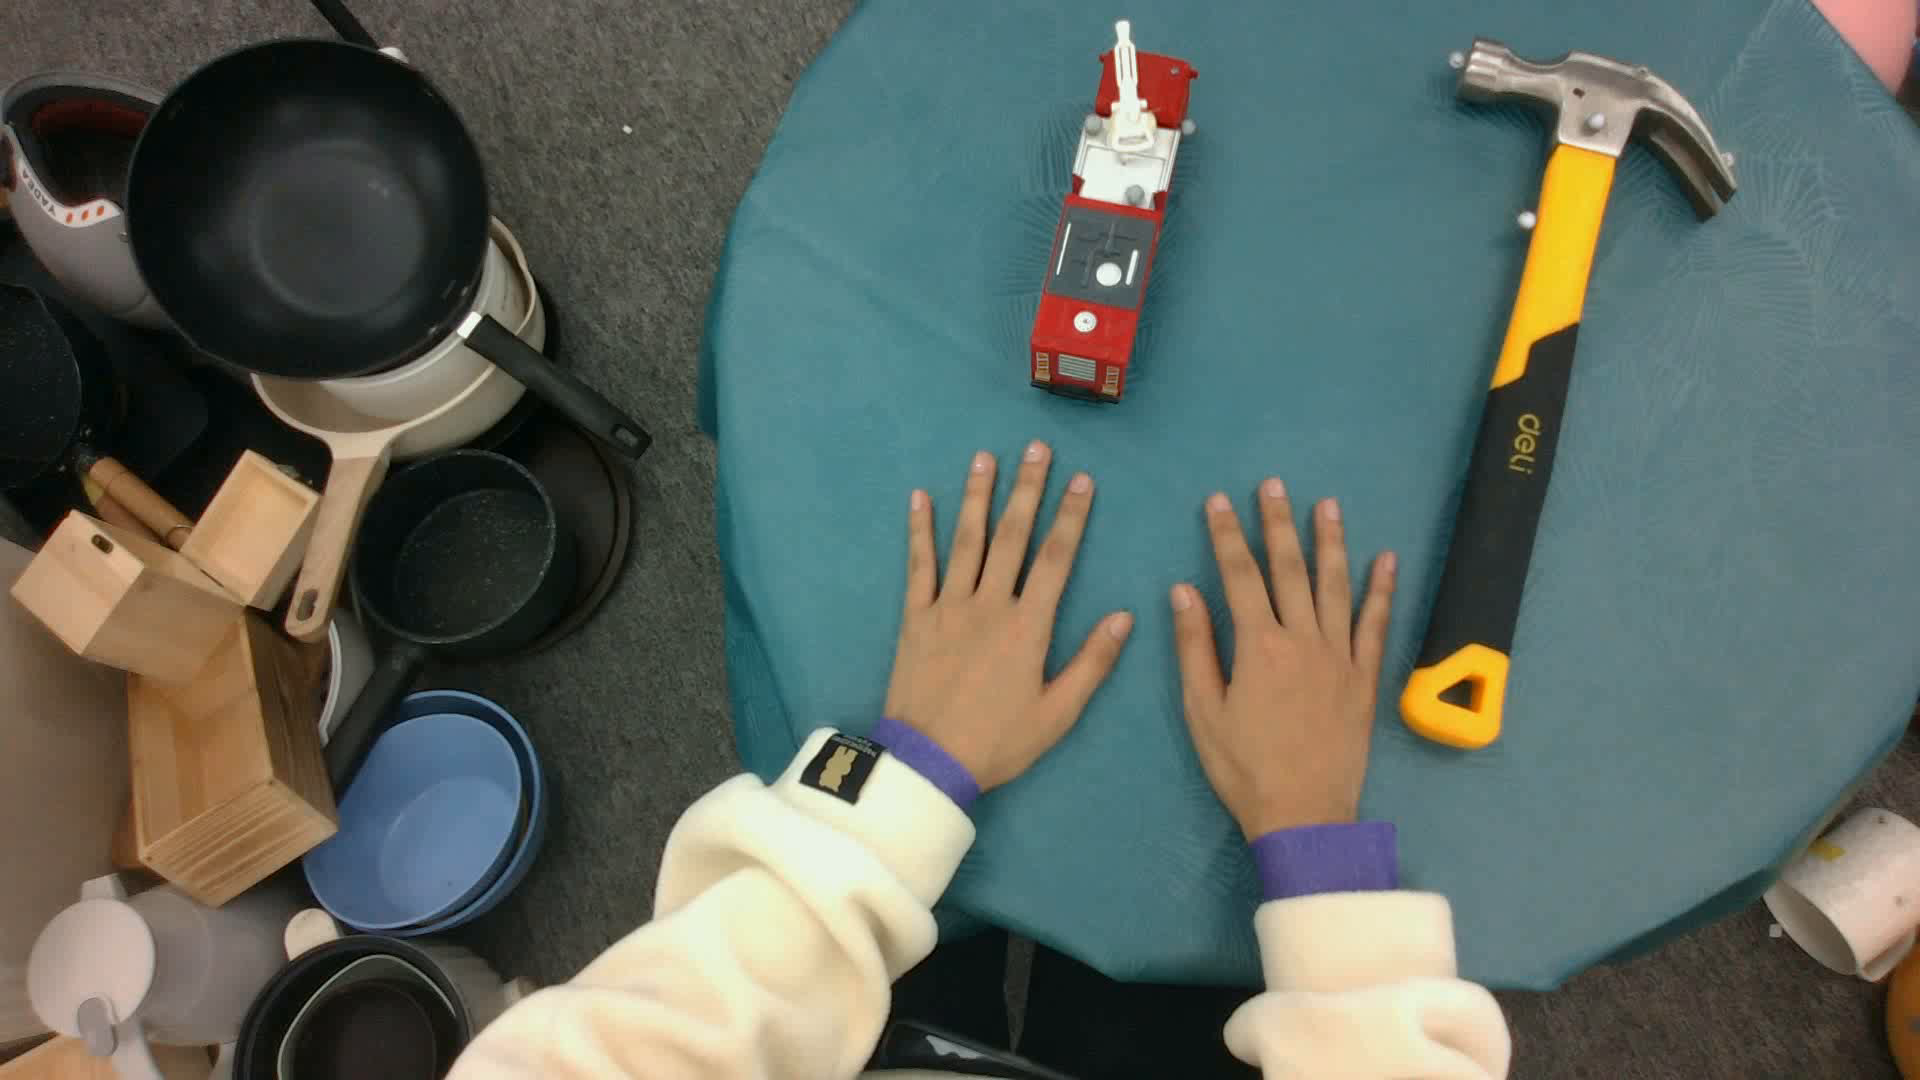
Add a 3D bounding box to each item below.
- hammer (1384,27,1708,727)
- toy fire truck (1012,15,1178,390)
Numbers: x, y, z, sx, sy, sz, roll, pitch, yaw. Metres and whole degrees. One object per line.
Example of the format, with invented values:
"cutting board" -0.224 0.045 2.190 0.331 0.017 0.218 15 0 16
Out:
"hammer" 0.252 -0.079 0.634 0.131 0.032 0.339 17 76 6
"toy fire truck" 0.064 -0.158 0.654 0.054 0.070 0.168 12 78 6
